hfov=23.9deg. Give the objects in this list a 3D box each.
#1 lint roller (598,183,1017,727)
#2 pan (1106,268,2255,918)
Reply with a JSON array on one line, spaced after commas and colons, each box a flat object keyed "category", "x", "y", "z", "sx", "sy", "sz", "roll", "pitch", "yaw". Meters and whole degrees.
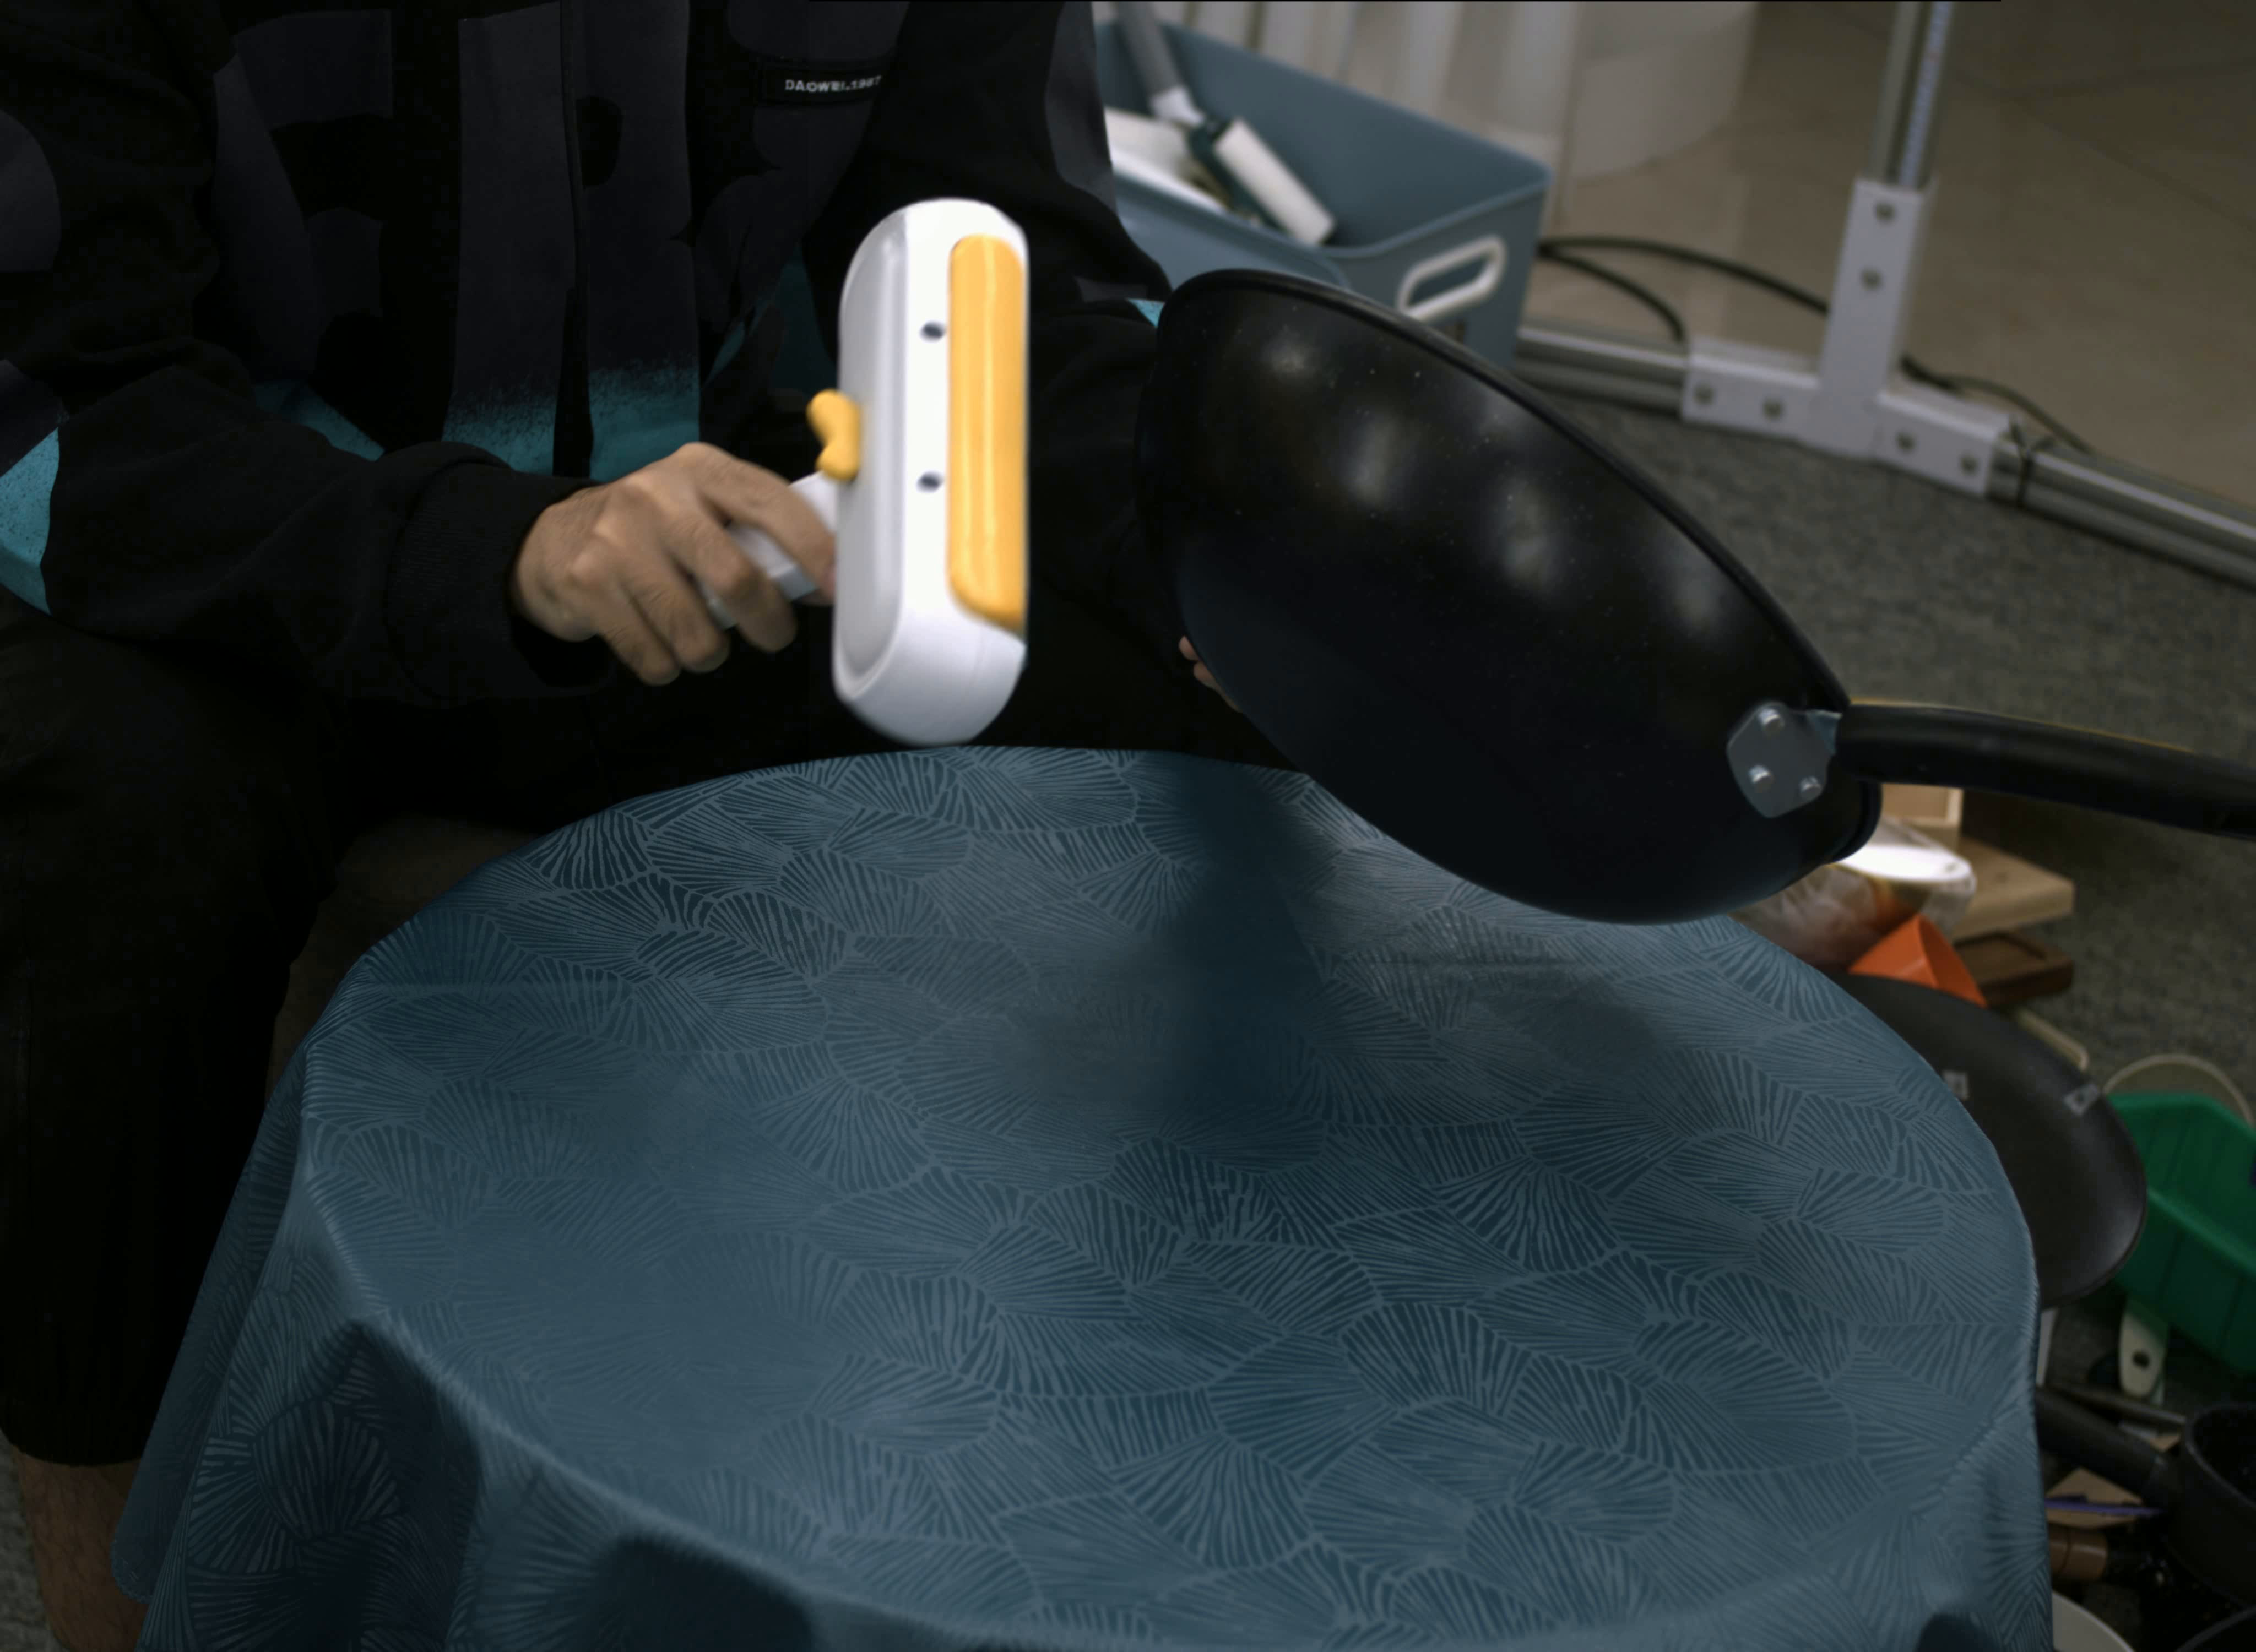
[{"category": "lint roller", "x": -0.108, "y": -0.100, "z": 1.796, "sx": 0.073, "sy": 0.192, "sz": 0.194, "roll": 13, "pitch": 57, "yaw": -33}, {"category": "pan", "x": 0.169, "y": -0.042, "z": 1.794, "sx": 0.480, "sy": 0.307, "sz": 0.112, "roll": 25, "pitch": 71, "yaw": 41}]
